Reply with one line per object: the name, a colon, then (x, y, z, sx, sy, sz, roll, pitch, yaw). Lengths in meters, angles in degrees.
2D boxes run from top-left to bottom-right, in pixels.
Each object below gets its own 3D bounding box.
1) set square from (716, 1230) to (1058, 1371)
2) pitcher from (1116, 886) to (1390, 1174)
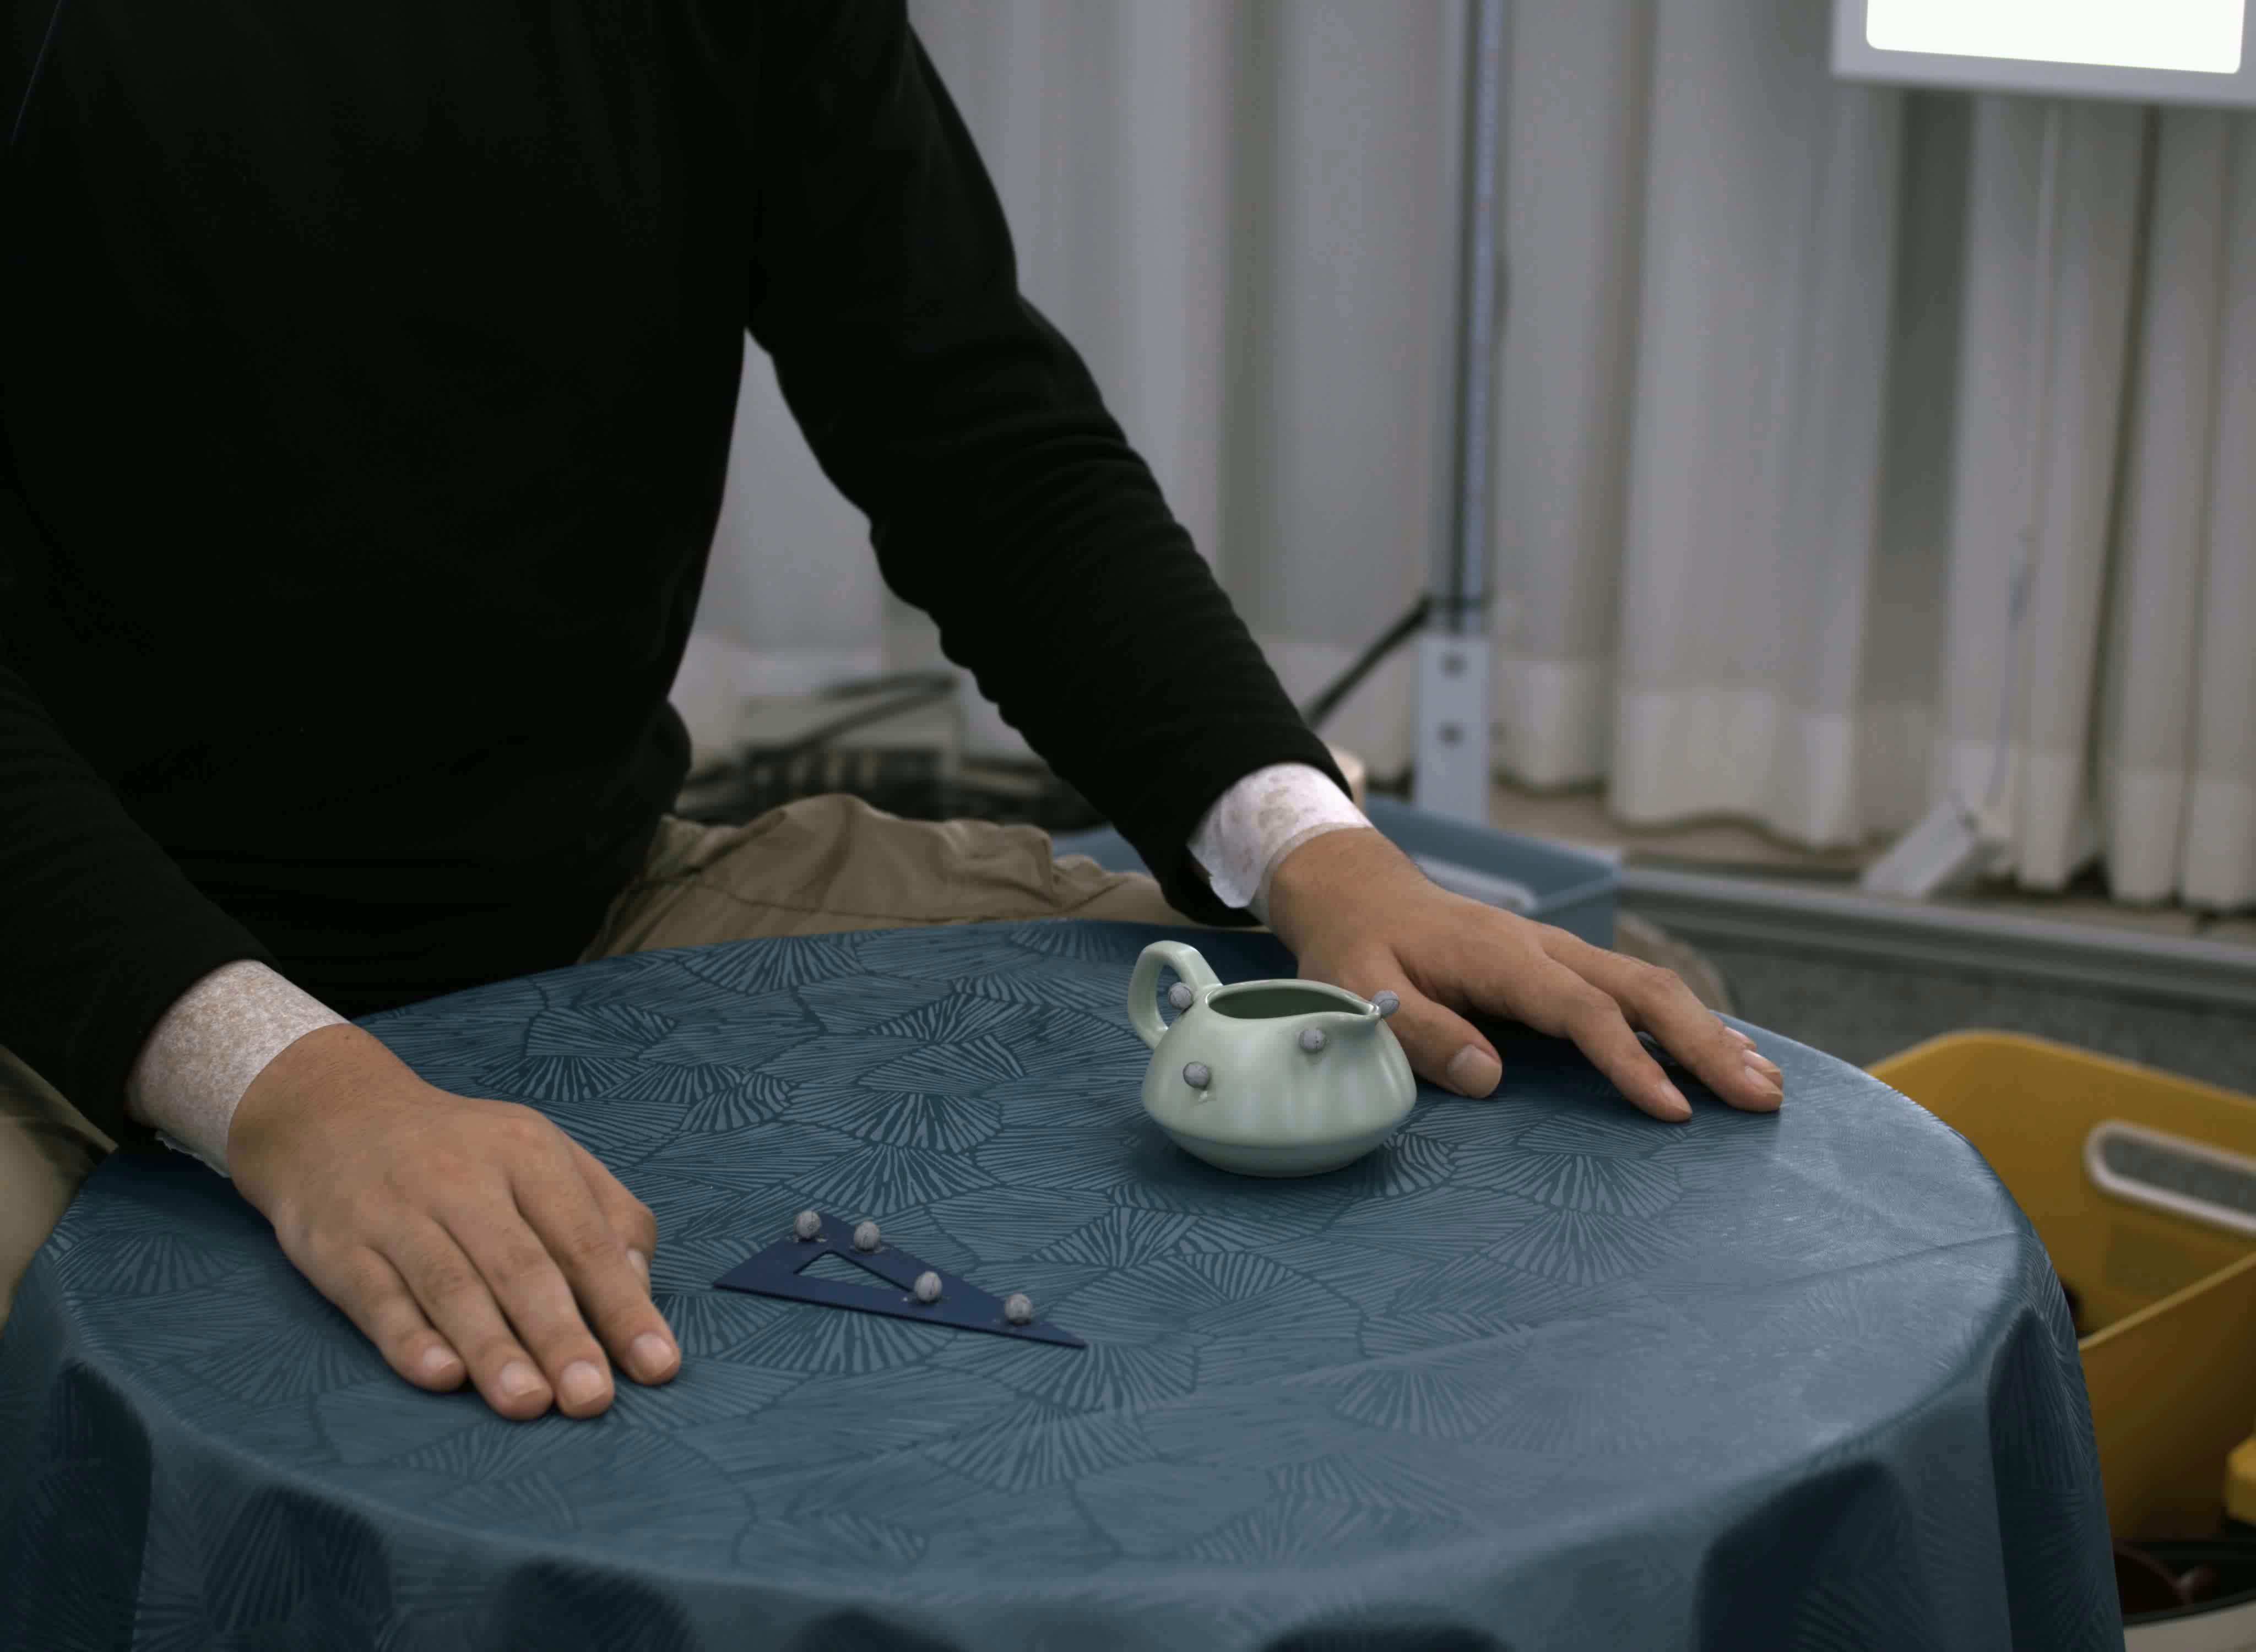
set square: (-0.075, 0.139, 1.516, 0.061, 0.006, 0.130, -8, 17, -32)
pitcher: (0.034, 0.065, 1.663, 0.086, 0.061, 0.106, -17, 39, -23)
